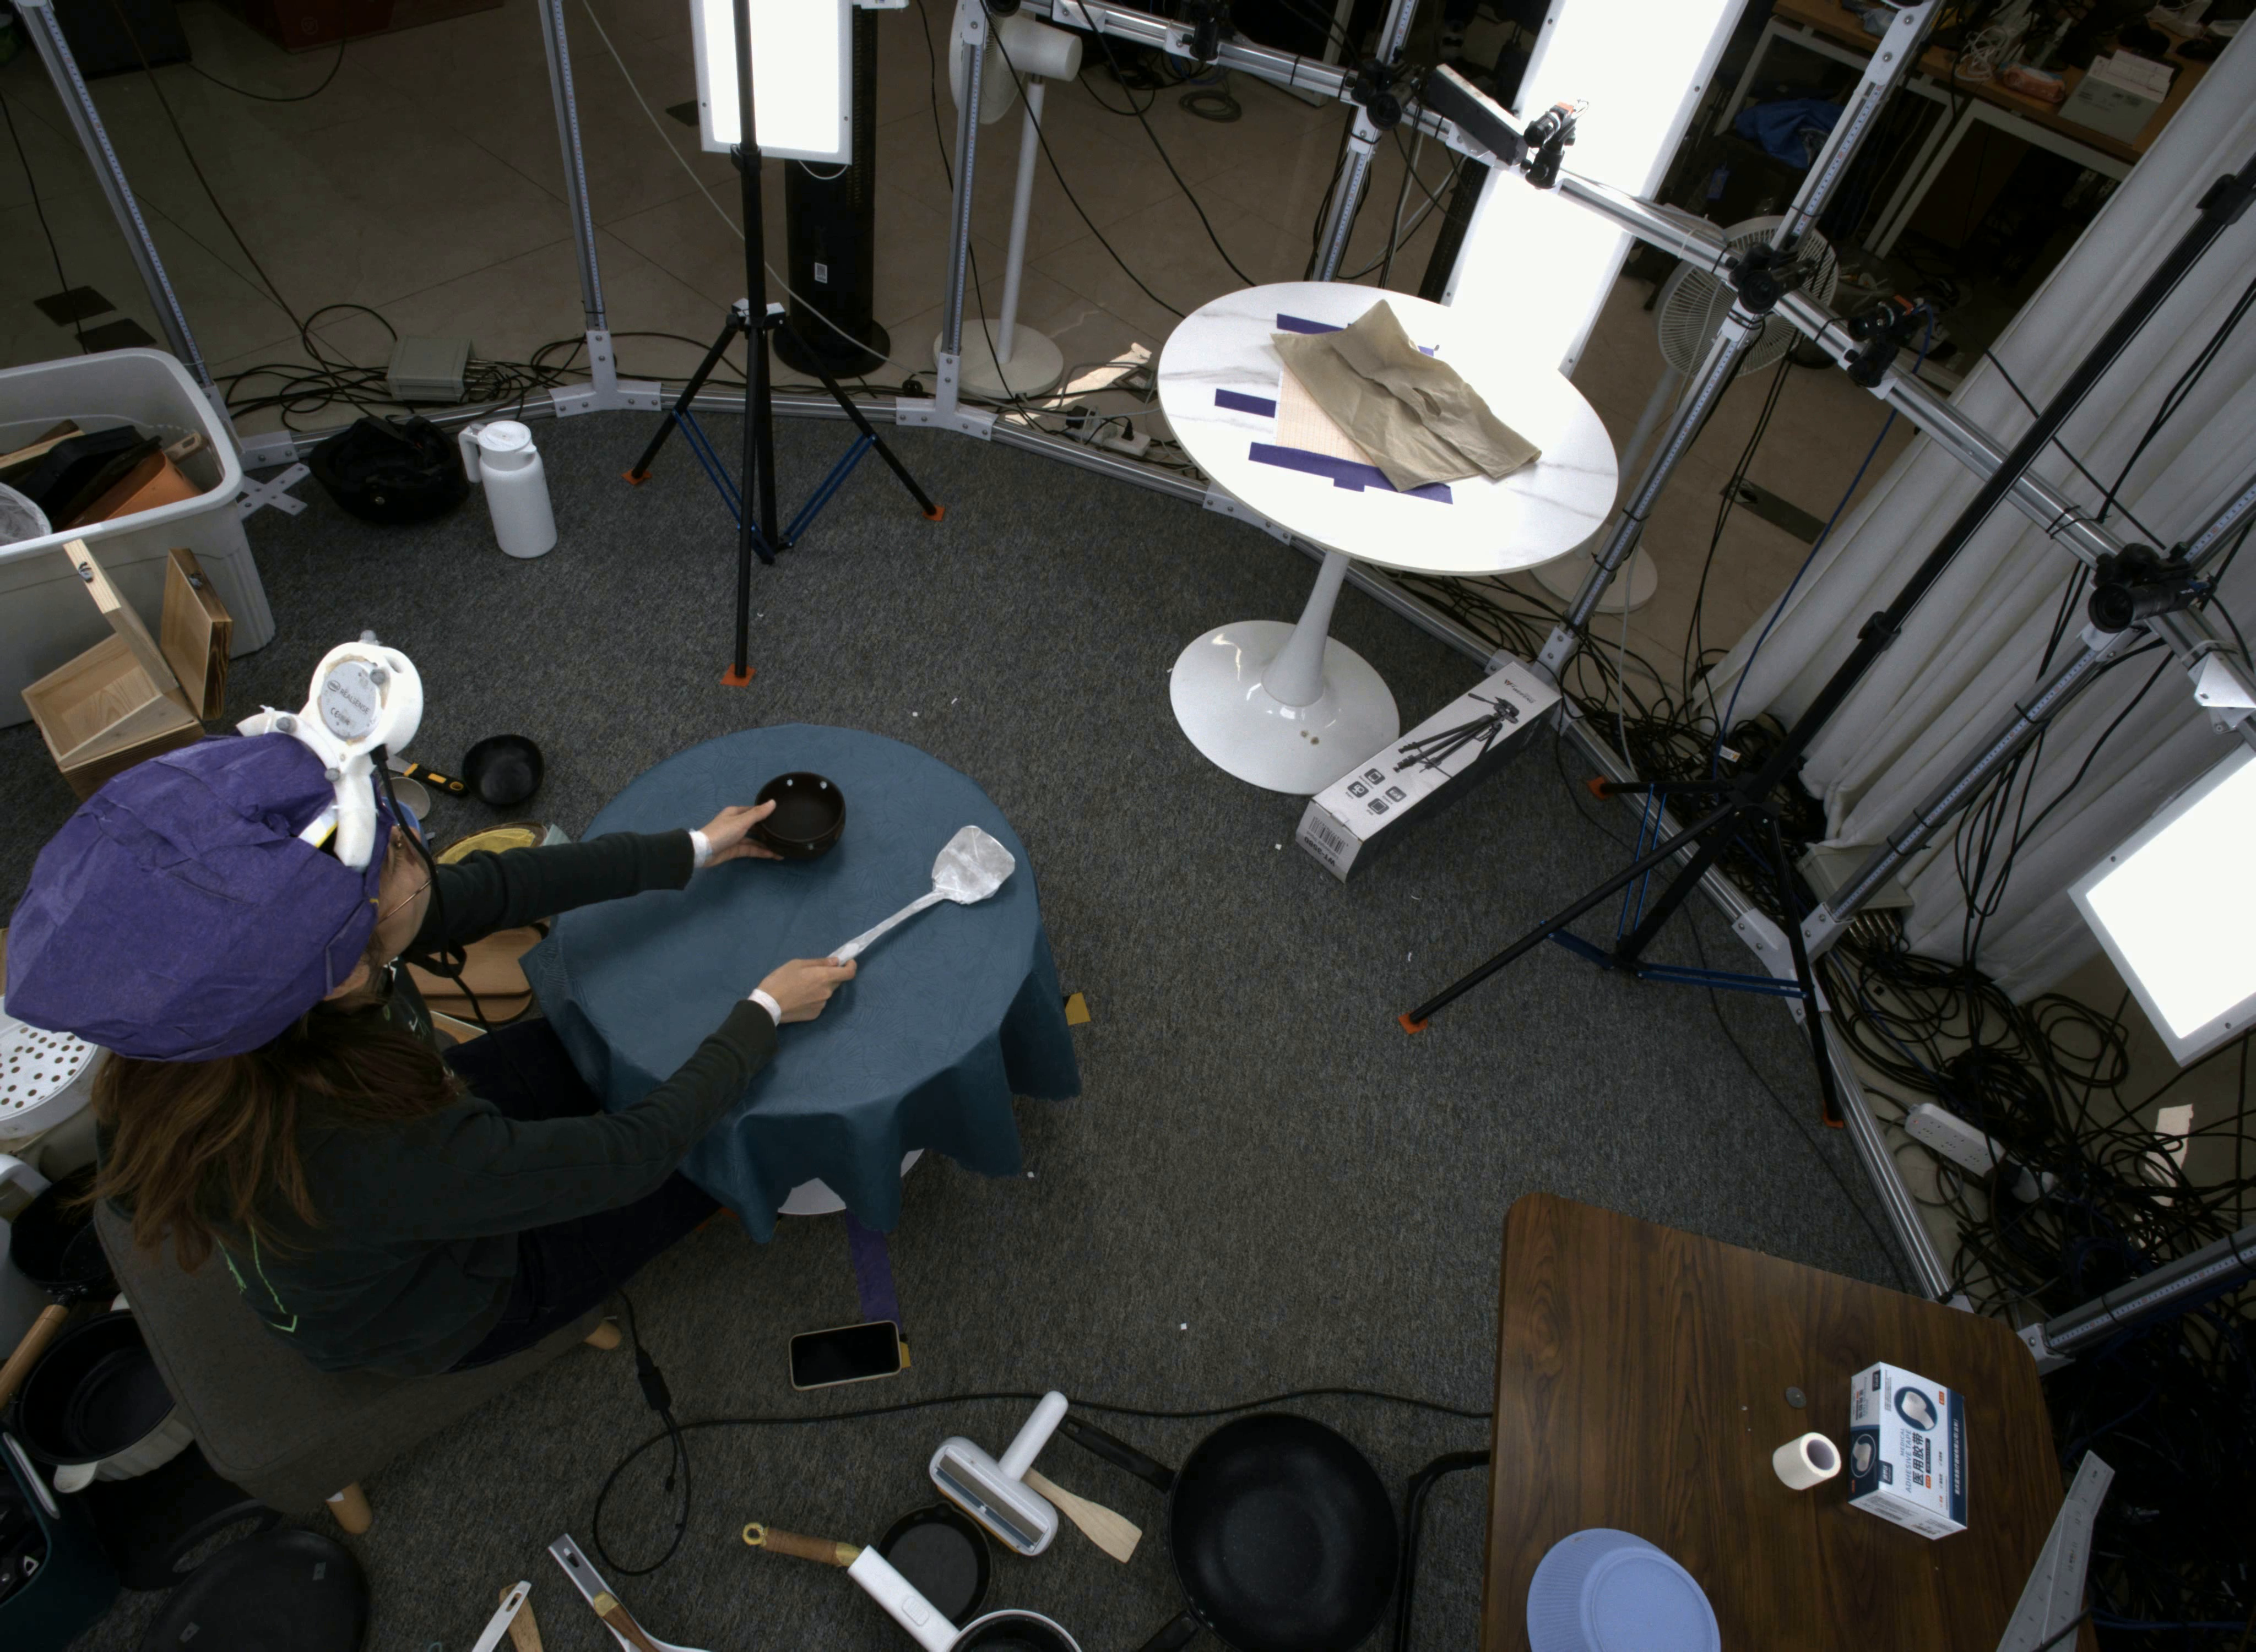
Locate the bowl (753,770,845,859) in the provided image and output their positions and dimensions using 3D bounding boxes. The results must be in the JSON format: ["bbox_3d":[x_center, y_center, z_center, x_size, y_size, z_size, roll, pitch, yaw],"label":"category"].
[{"bbox_3d":[-0.427,-0.007,1.688,0.117,0.071,0.116,6,52,-7],"label":"bowl"}]

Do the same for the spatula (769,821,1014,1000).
[{"bbox_3d":[-0.299,0.112,1.647,0.096,0.045,0.366,42,52,17],"label":"spatula"}]
